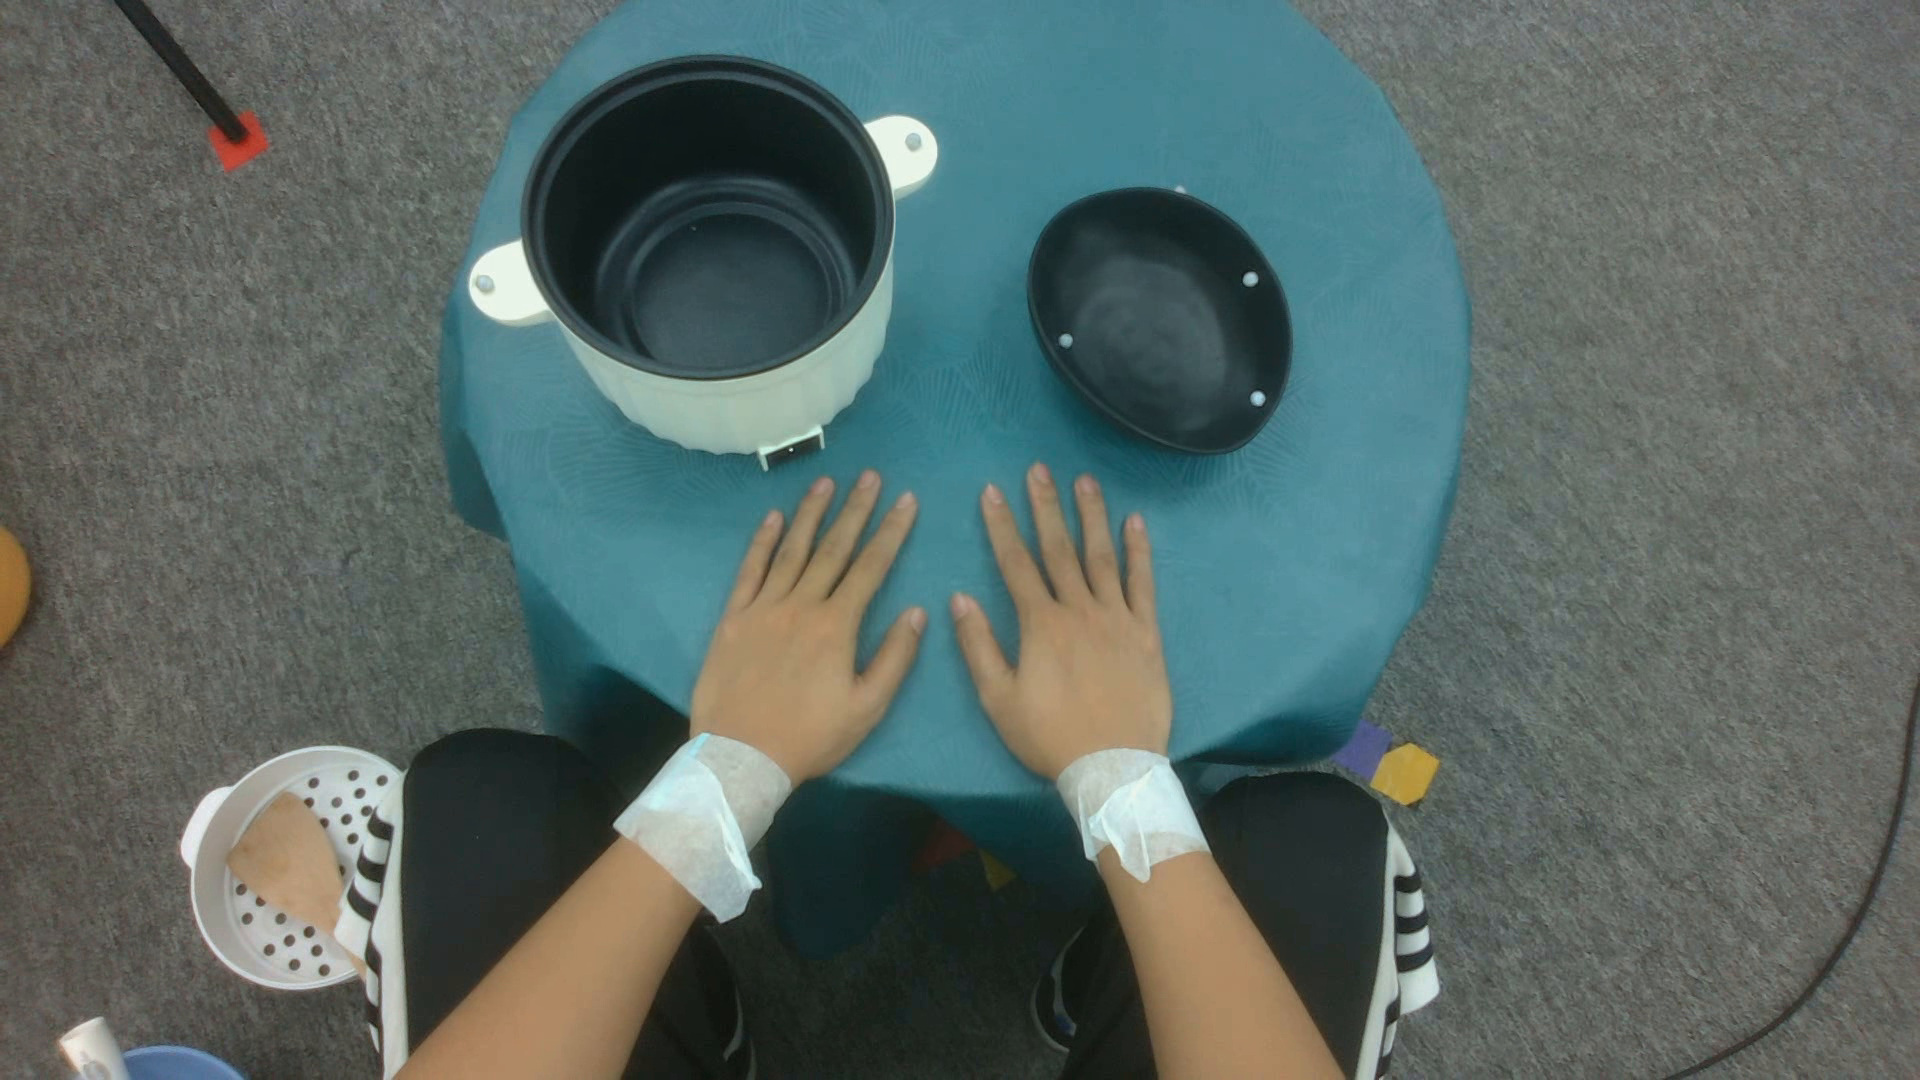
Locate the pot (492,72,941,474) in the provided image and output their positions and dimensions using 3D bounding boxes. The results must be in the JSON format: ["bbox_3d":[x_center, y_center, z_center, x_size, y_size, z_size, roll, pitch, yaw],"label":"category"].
[{"bbox_3d":[-0.126,-0.143,0.757,0.241,0.142,0.191,-23,77,-10],"label":"pot"}]

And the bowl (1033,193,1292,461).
[{"bbox_3d":[0.114,-0.117,0.797,0.137,0.066,0.170,-33,76,-11],"label":"bowl"}]
